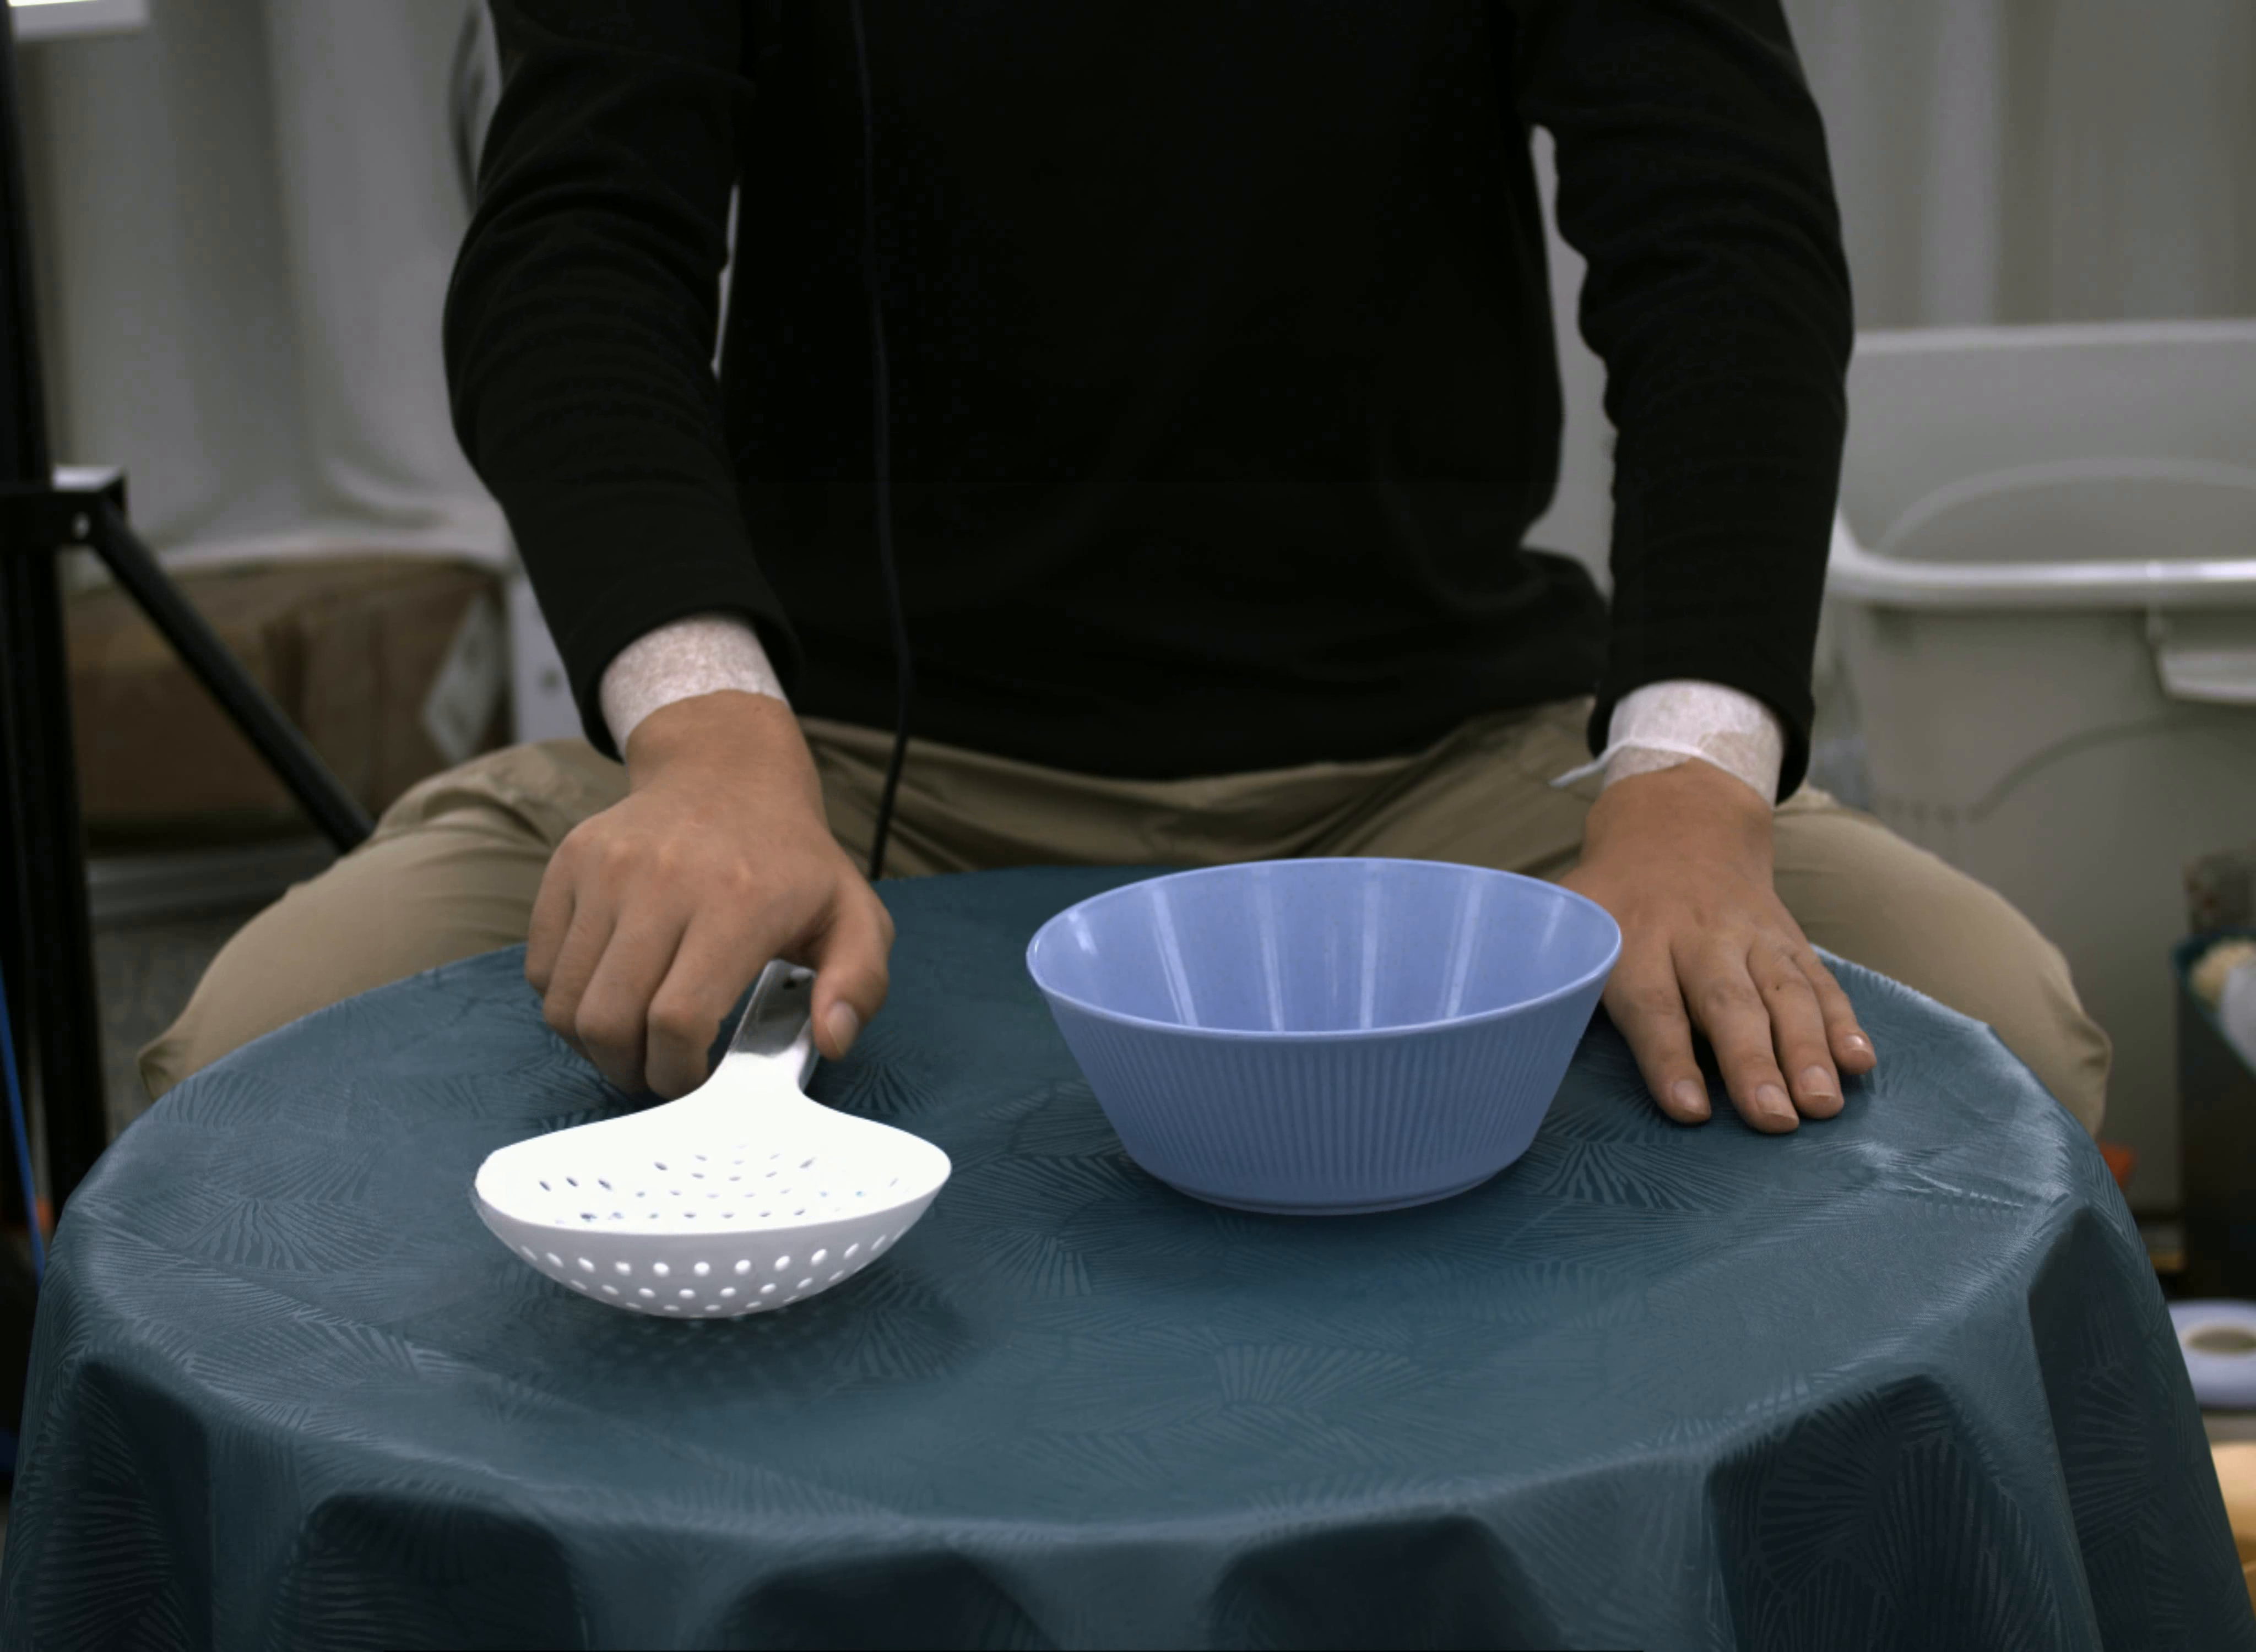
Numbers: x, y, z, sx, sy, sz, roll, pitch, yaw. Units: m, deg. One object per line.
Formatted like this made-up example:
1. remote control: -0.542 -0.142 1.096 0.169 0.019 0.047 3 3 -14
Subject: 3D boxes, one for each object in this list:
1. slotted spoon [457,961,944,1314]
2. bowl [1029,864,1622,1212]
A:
1. slotted spoon: -0.114 0.083 1.581 0.136 0.046 0.350 -3 15 3
2. bowl: 0.059 0.065 1.572 0.175 0.070 0.177 -3 14 -1
